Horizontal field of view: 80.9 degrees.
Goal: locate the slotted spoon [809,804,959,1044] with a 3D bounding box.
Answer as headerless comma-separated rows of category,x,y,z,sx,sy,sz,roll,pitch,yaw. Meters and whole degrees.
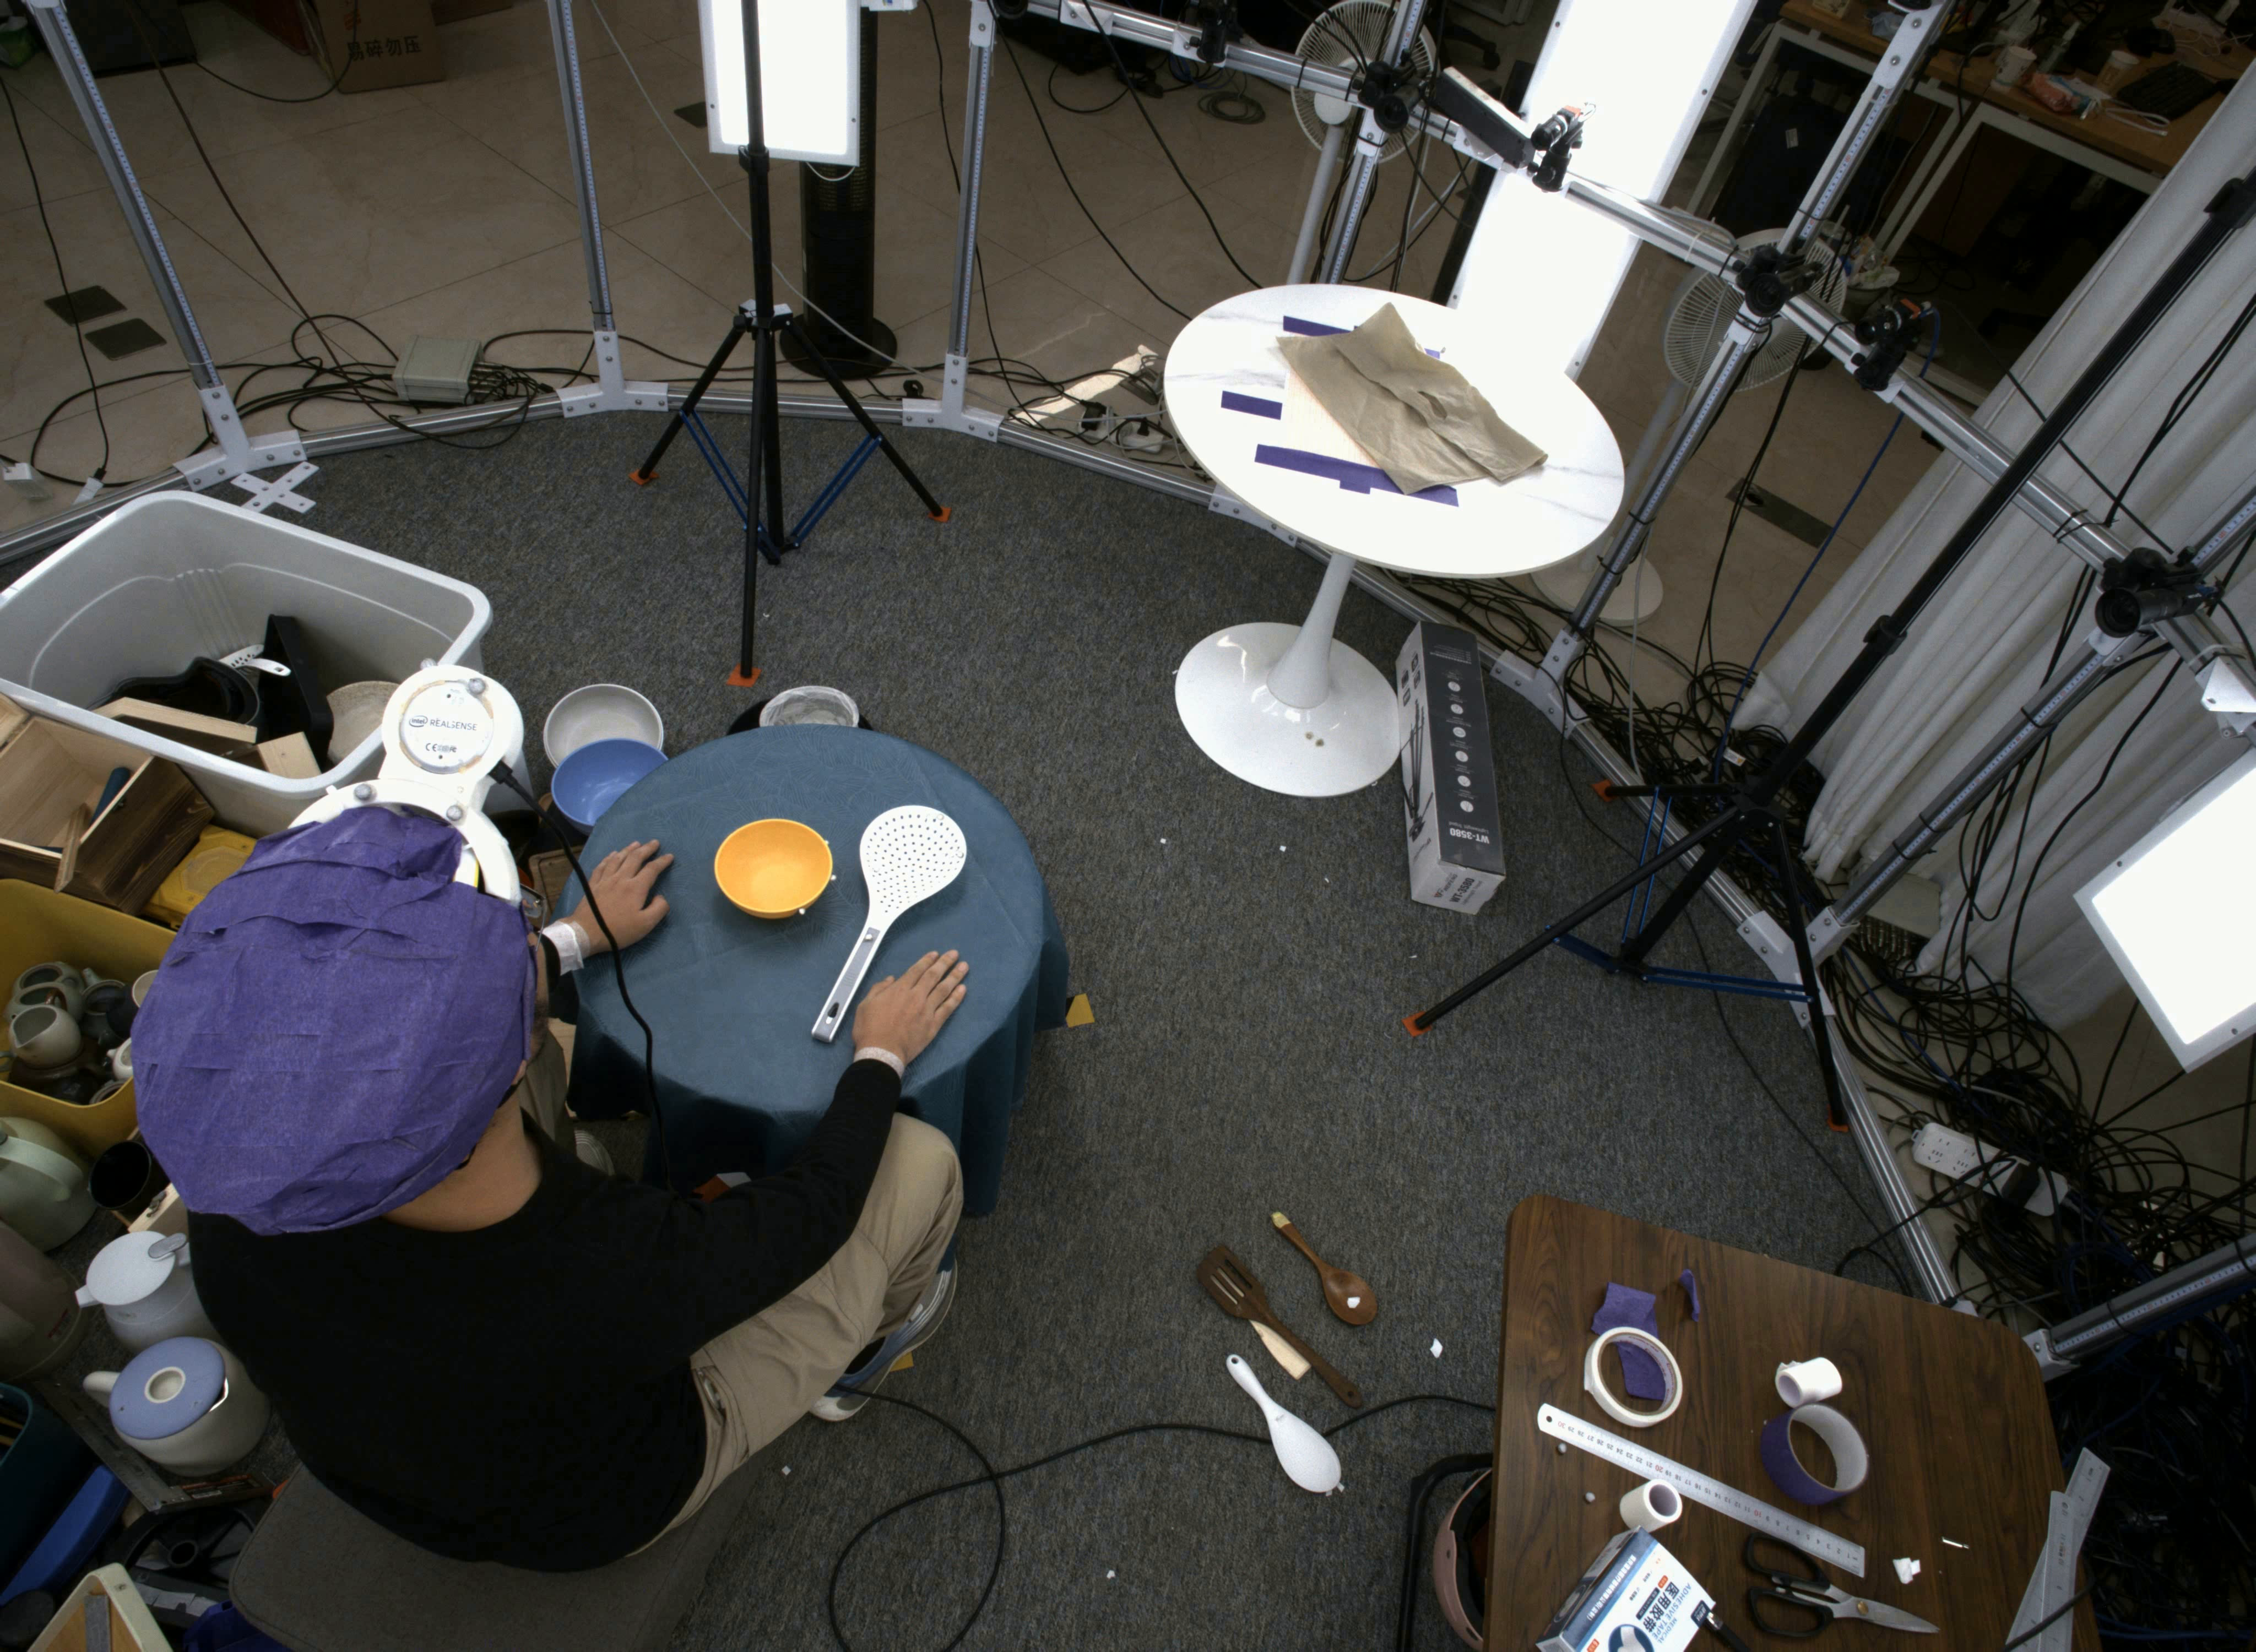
slotted spoon,-0.317,0.116,1.631,0.135,0.046,0.346,19,52,1

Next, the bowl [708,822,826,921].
bowl,-0.451,0.067,1.625,0.145,0.061,0.142,7,51,-7
